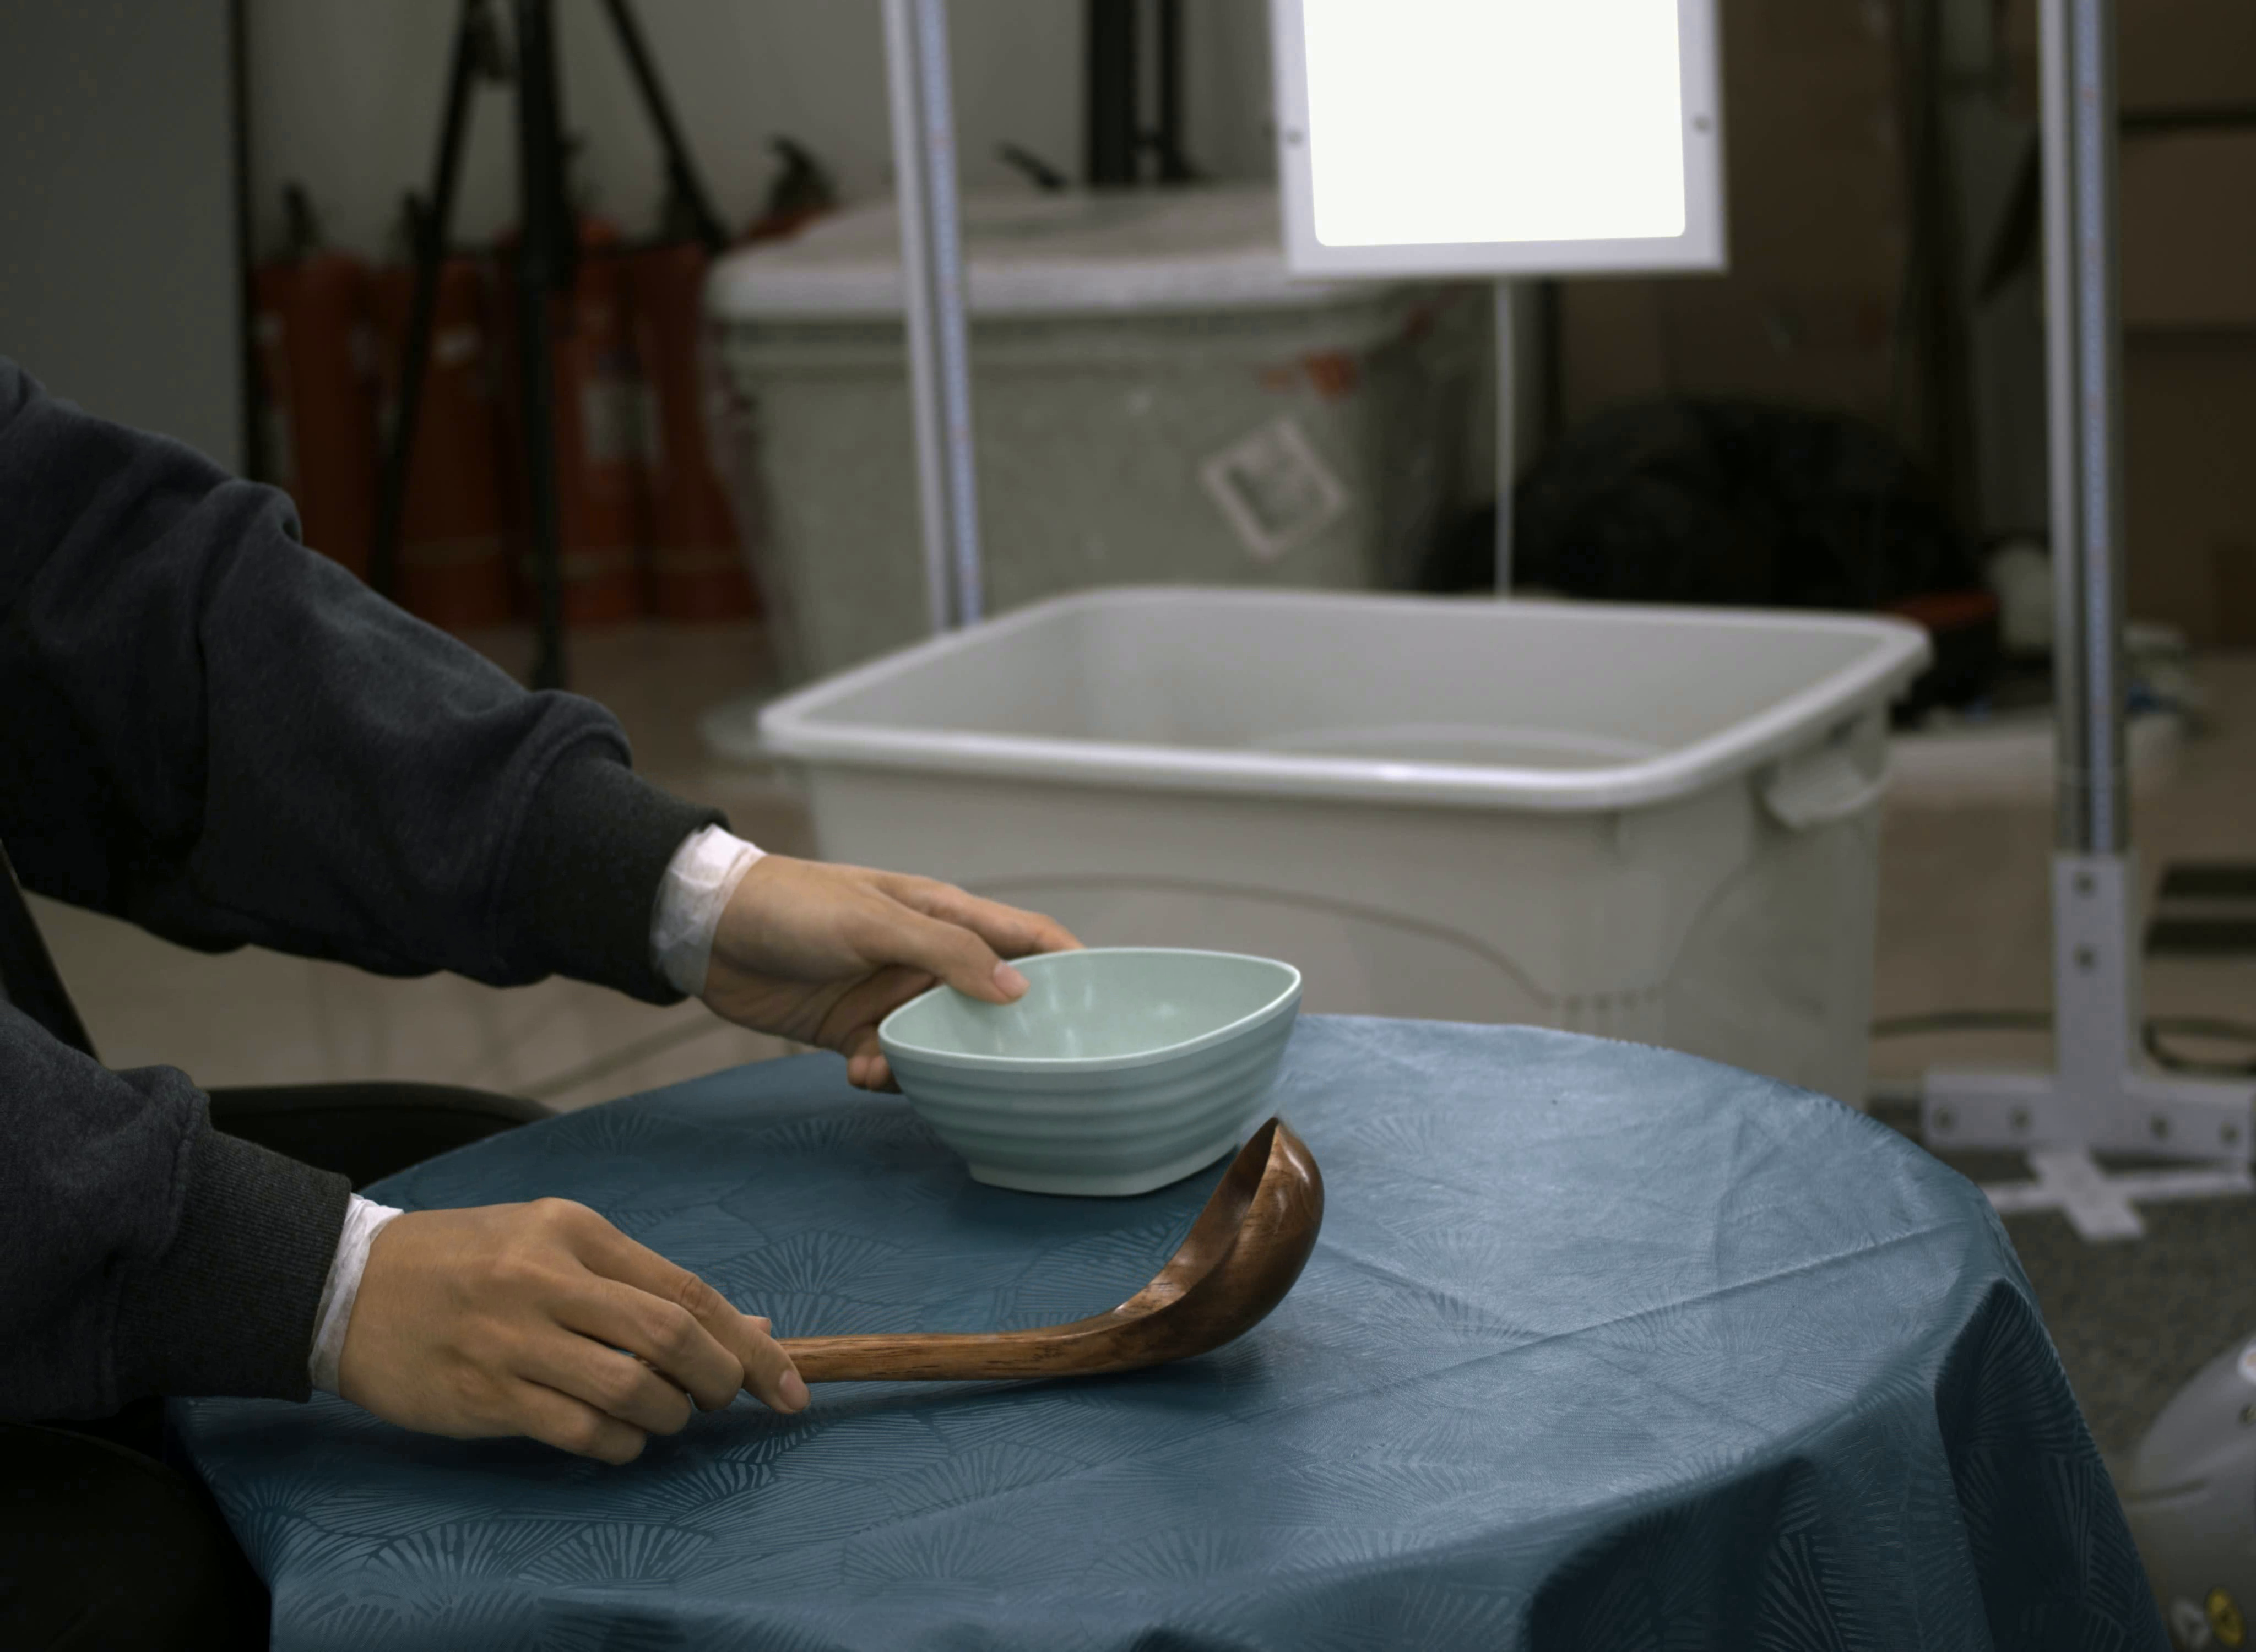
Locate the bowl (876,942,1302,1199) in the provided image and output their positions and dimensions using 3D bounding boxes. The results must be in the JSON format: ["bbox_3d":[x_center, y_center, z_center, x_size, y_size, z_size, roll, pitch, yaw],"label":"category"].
[{"bbox_3d":[-0.012,0.088,1.929,0.151,0.059,0.151,-5,15,0],"label":"bowl"}]

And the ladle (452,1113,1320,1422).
[{"bbox_3d":[-0.075,0.136,1.708,0.273,0.077,0.082,-4,-1,-2],"label":"ladle"}]
